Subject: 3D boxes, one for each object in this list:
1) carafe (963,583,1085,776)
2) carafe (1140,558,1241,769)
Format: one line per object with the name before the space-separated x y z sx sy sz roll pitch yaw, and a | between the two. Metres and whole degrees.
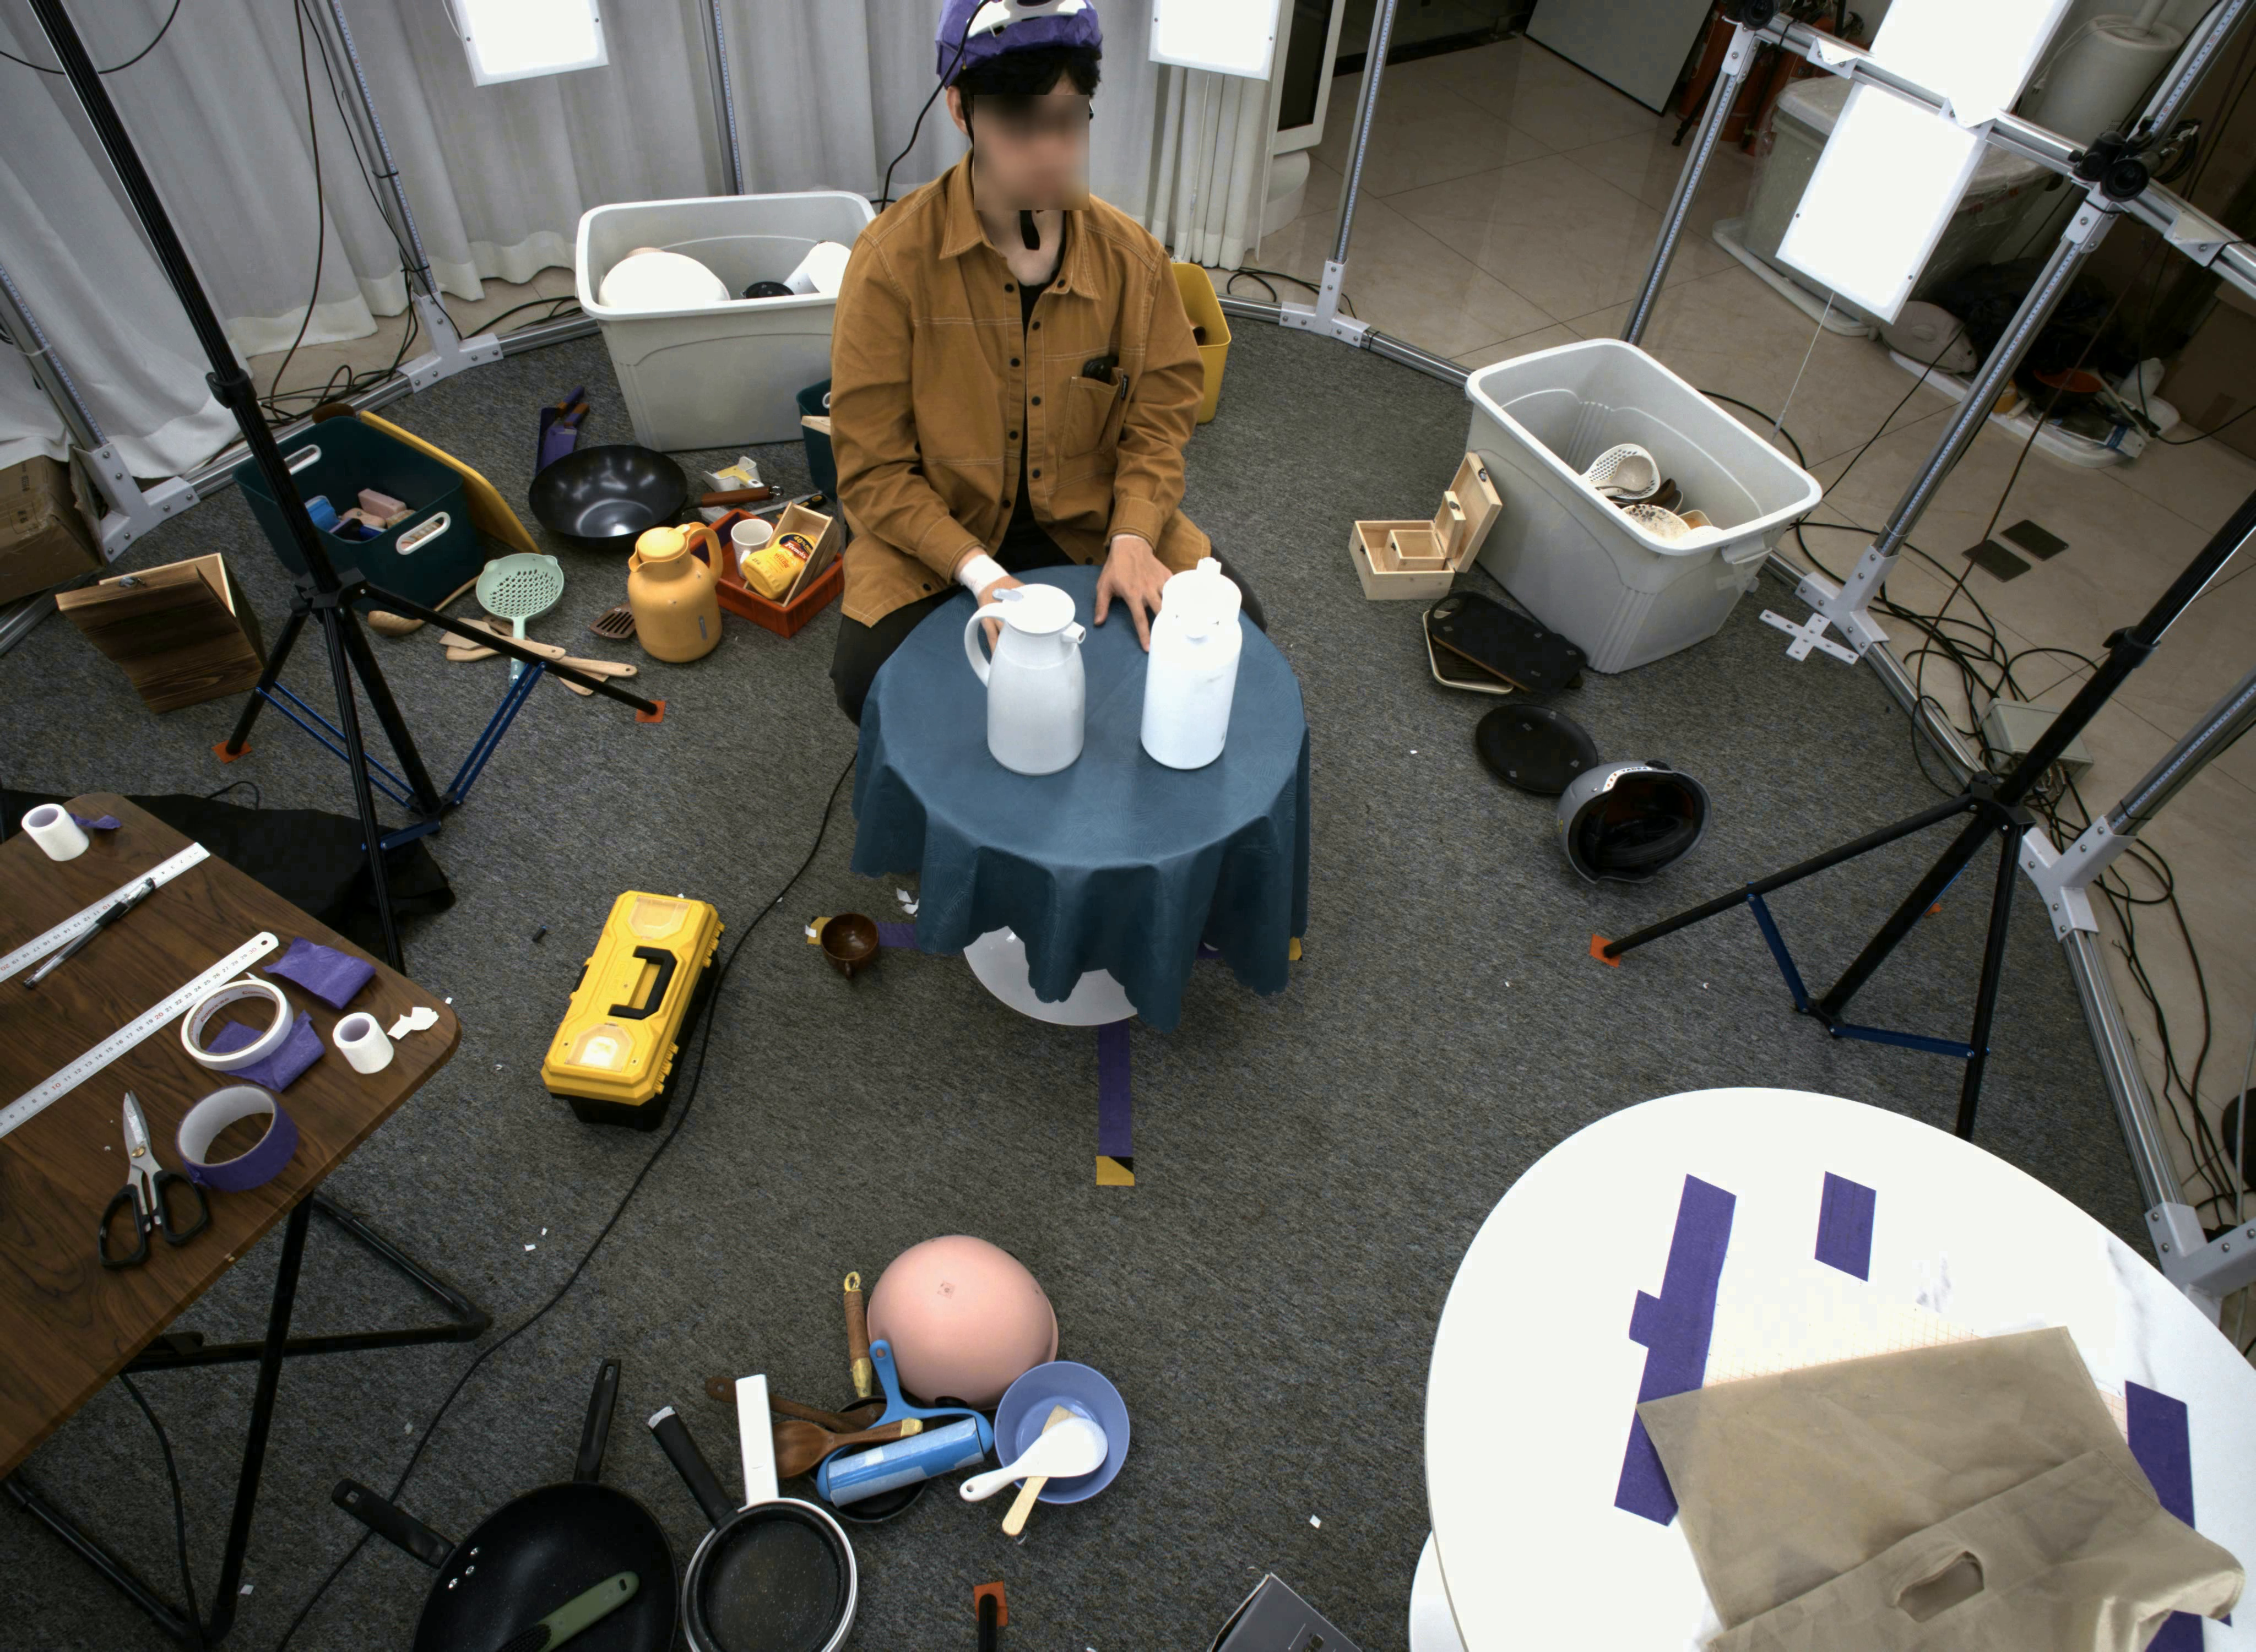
carafe | -0.138 -0.202 1.676 0.169 0.242 0.135 21 51 15
carafe | 0.084 -0.215 1.689 0.124 0.262 0.177 8 49 5
